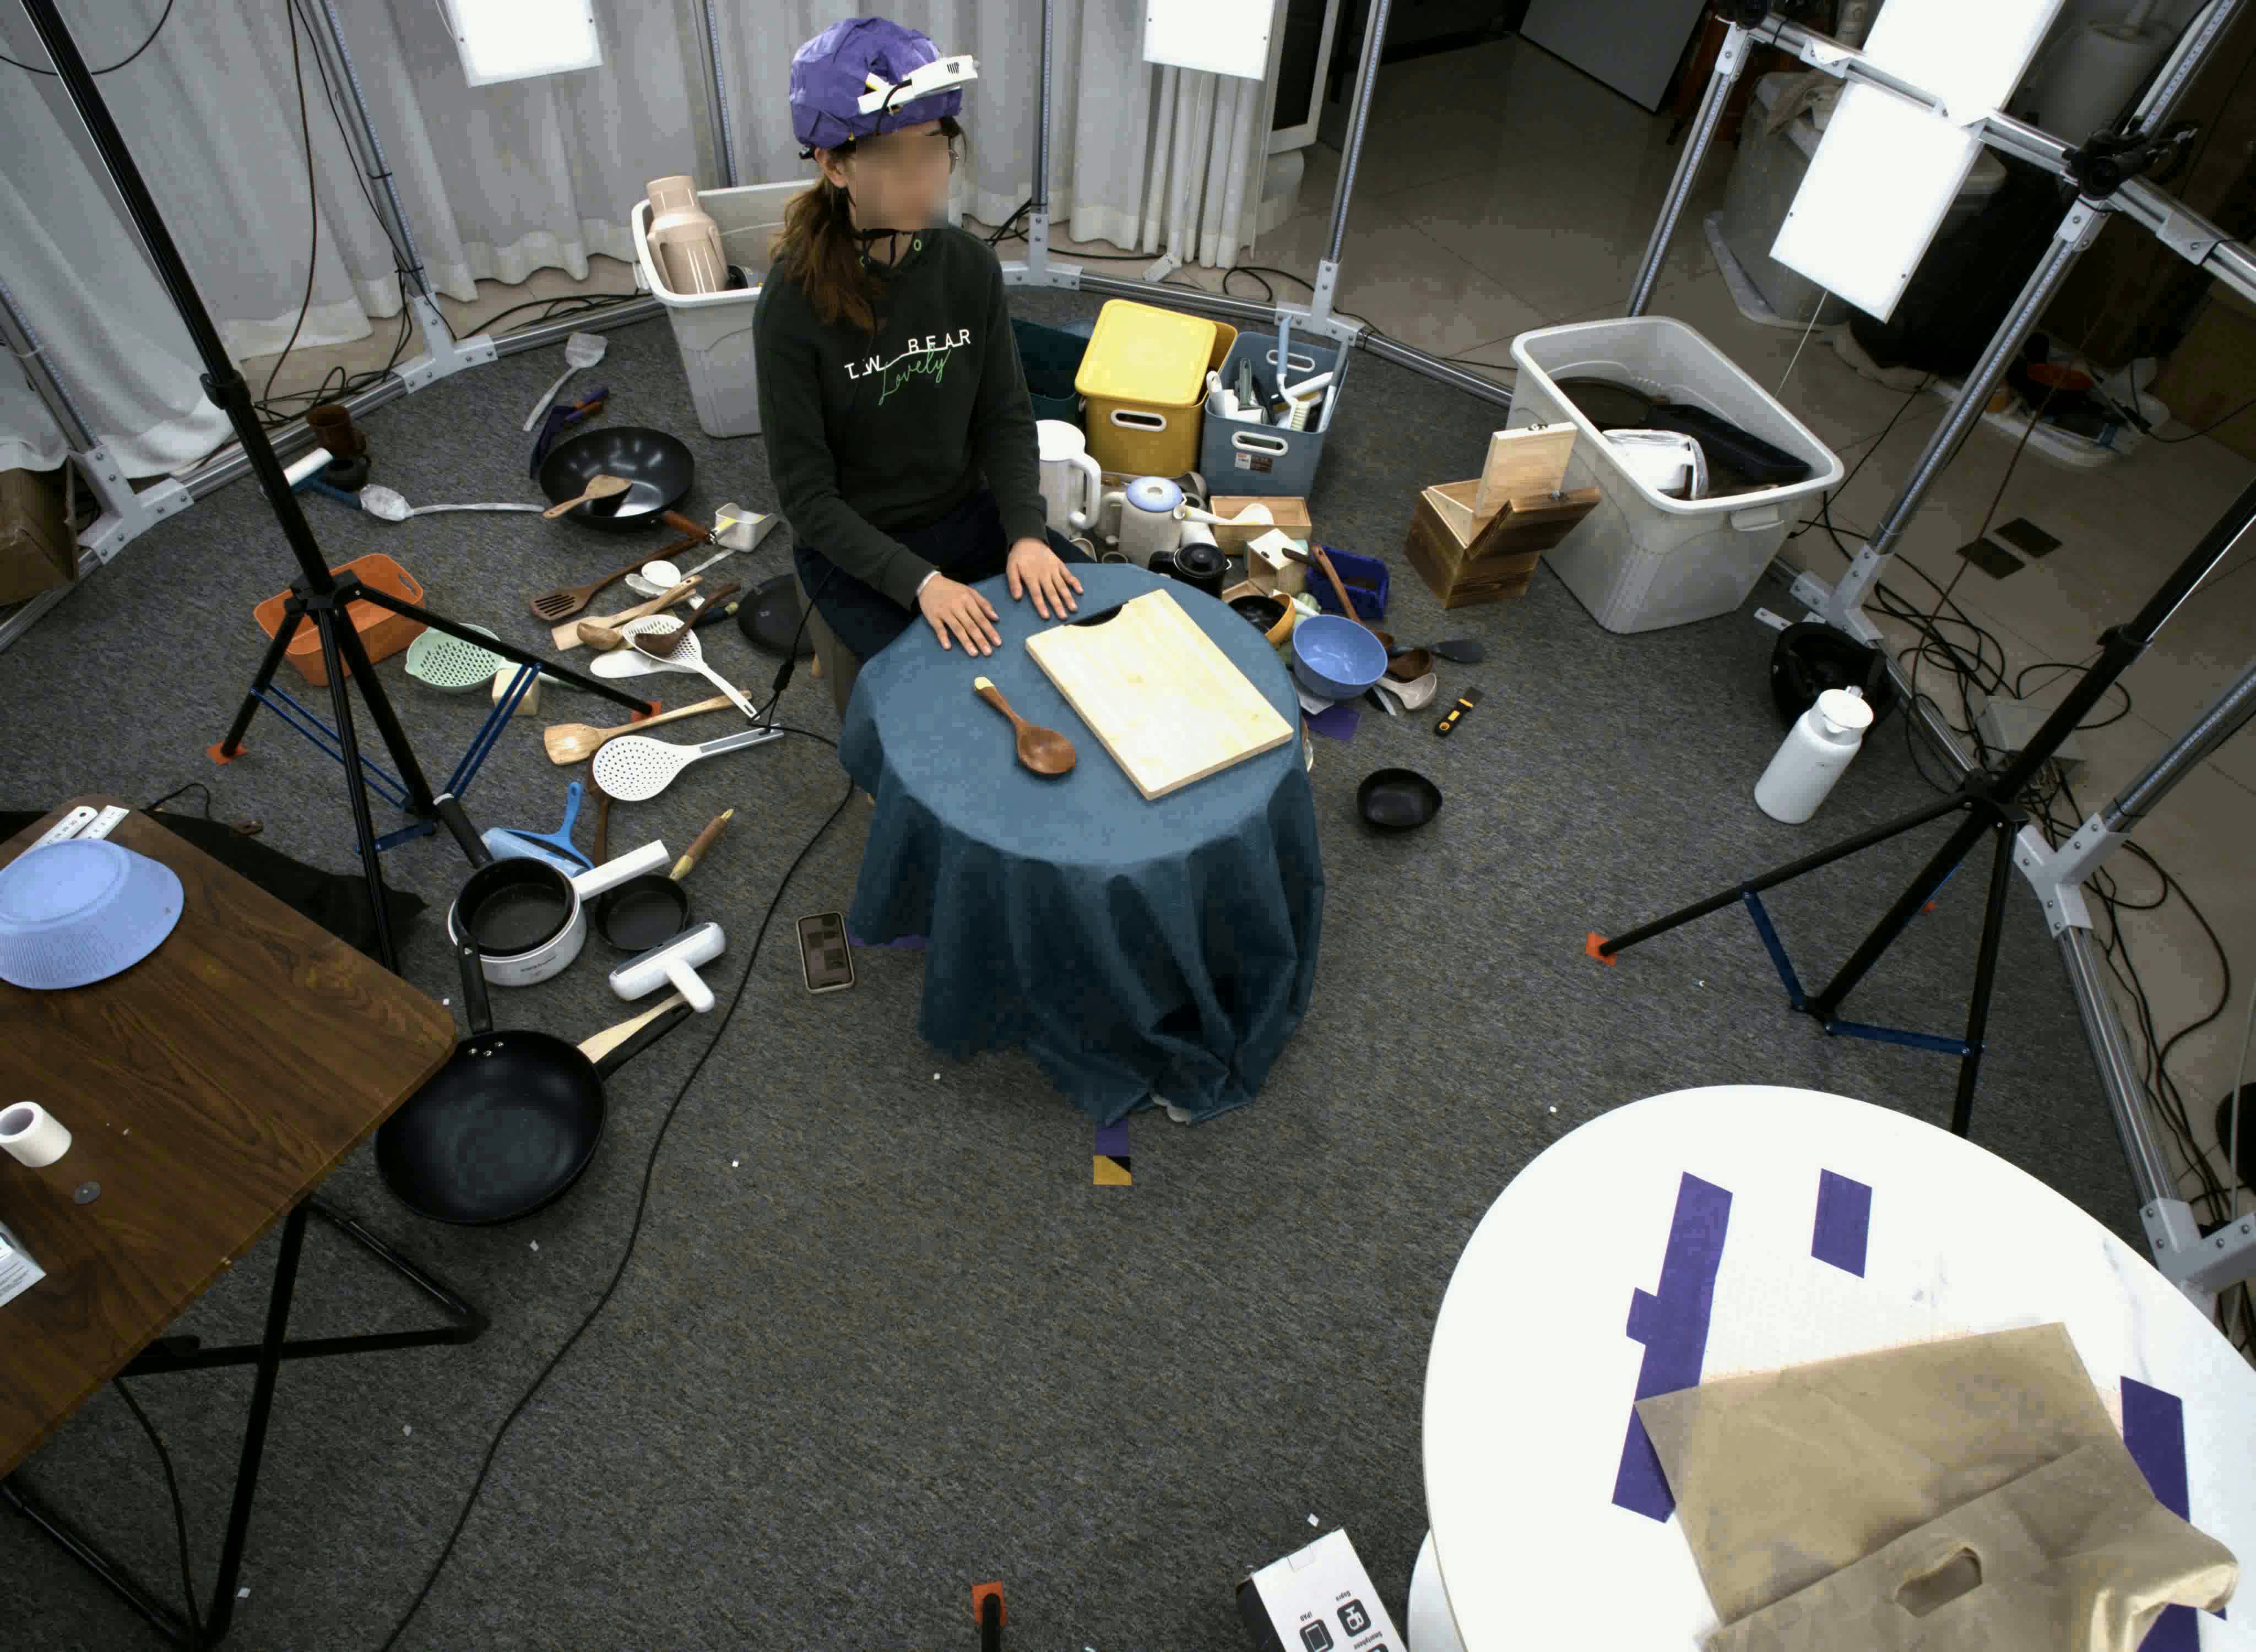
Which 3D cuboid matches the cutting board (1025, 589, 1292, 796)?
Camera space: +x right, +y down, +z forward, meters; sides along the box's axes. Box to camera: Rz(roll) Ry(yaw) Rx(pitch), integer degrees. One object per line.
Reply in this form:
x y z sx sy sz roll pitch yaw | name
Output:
0.038 -0.201 1.852 0.251 0.023 0.356 -23 54 -23 | cutting board

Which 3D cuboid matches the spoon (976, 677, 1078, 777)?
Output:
-0.147 -0.139 1.784 0.076 0.017 0.220 -28 57 -23 | spoon
